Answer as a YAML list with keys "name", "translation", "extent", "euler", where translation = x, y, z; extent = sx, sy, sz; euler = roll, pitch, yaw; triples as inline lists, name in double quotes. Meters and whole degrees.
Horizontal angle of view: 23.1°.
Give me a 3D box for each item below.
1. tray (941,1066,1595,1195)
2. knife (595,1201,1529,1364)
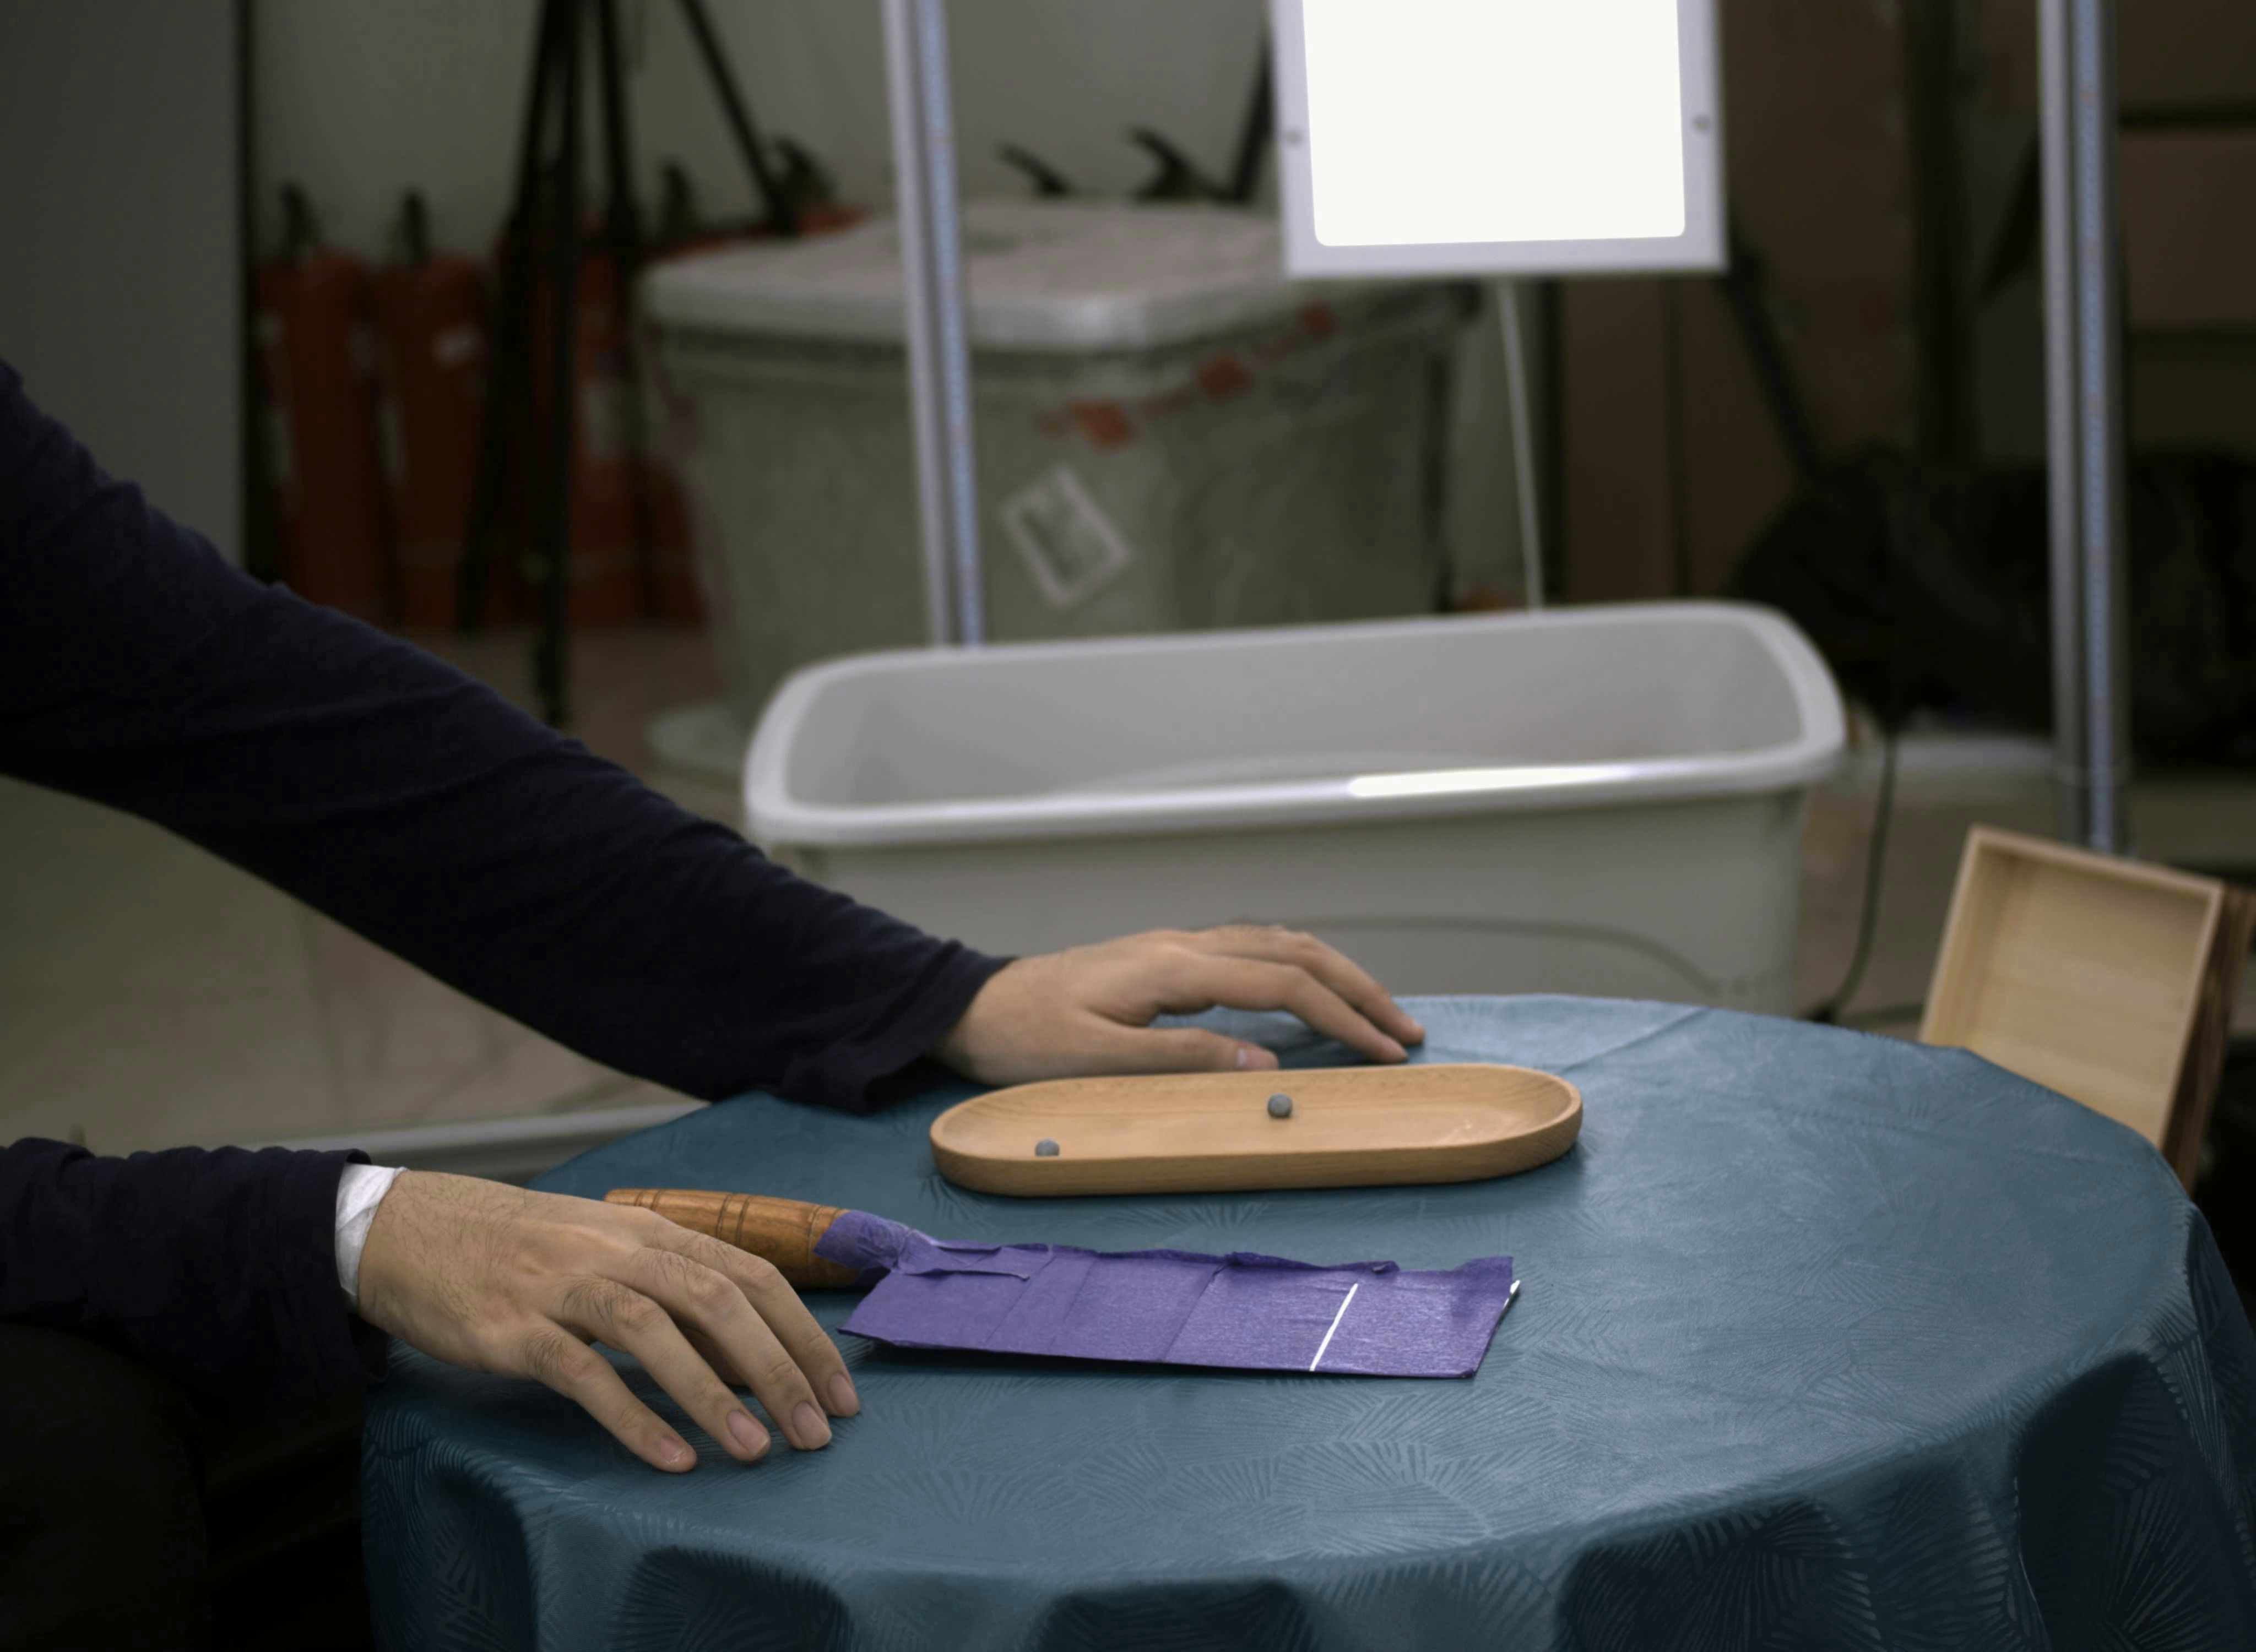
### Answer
- name: "tray"
  translation: [0.049, 0.107, 1.933]
  extent: [0.232, 0.020, 0.101]
  euler: [0, 16, 8]
- name: "knife"
  translation: [-0.032, 0.147, 1.774]
  extent: [0.319, 0.032, 0.102]
  euler: [0, 14, 17]
